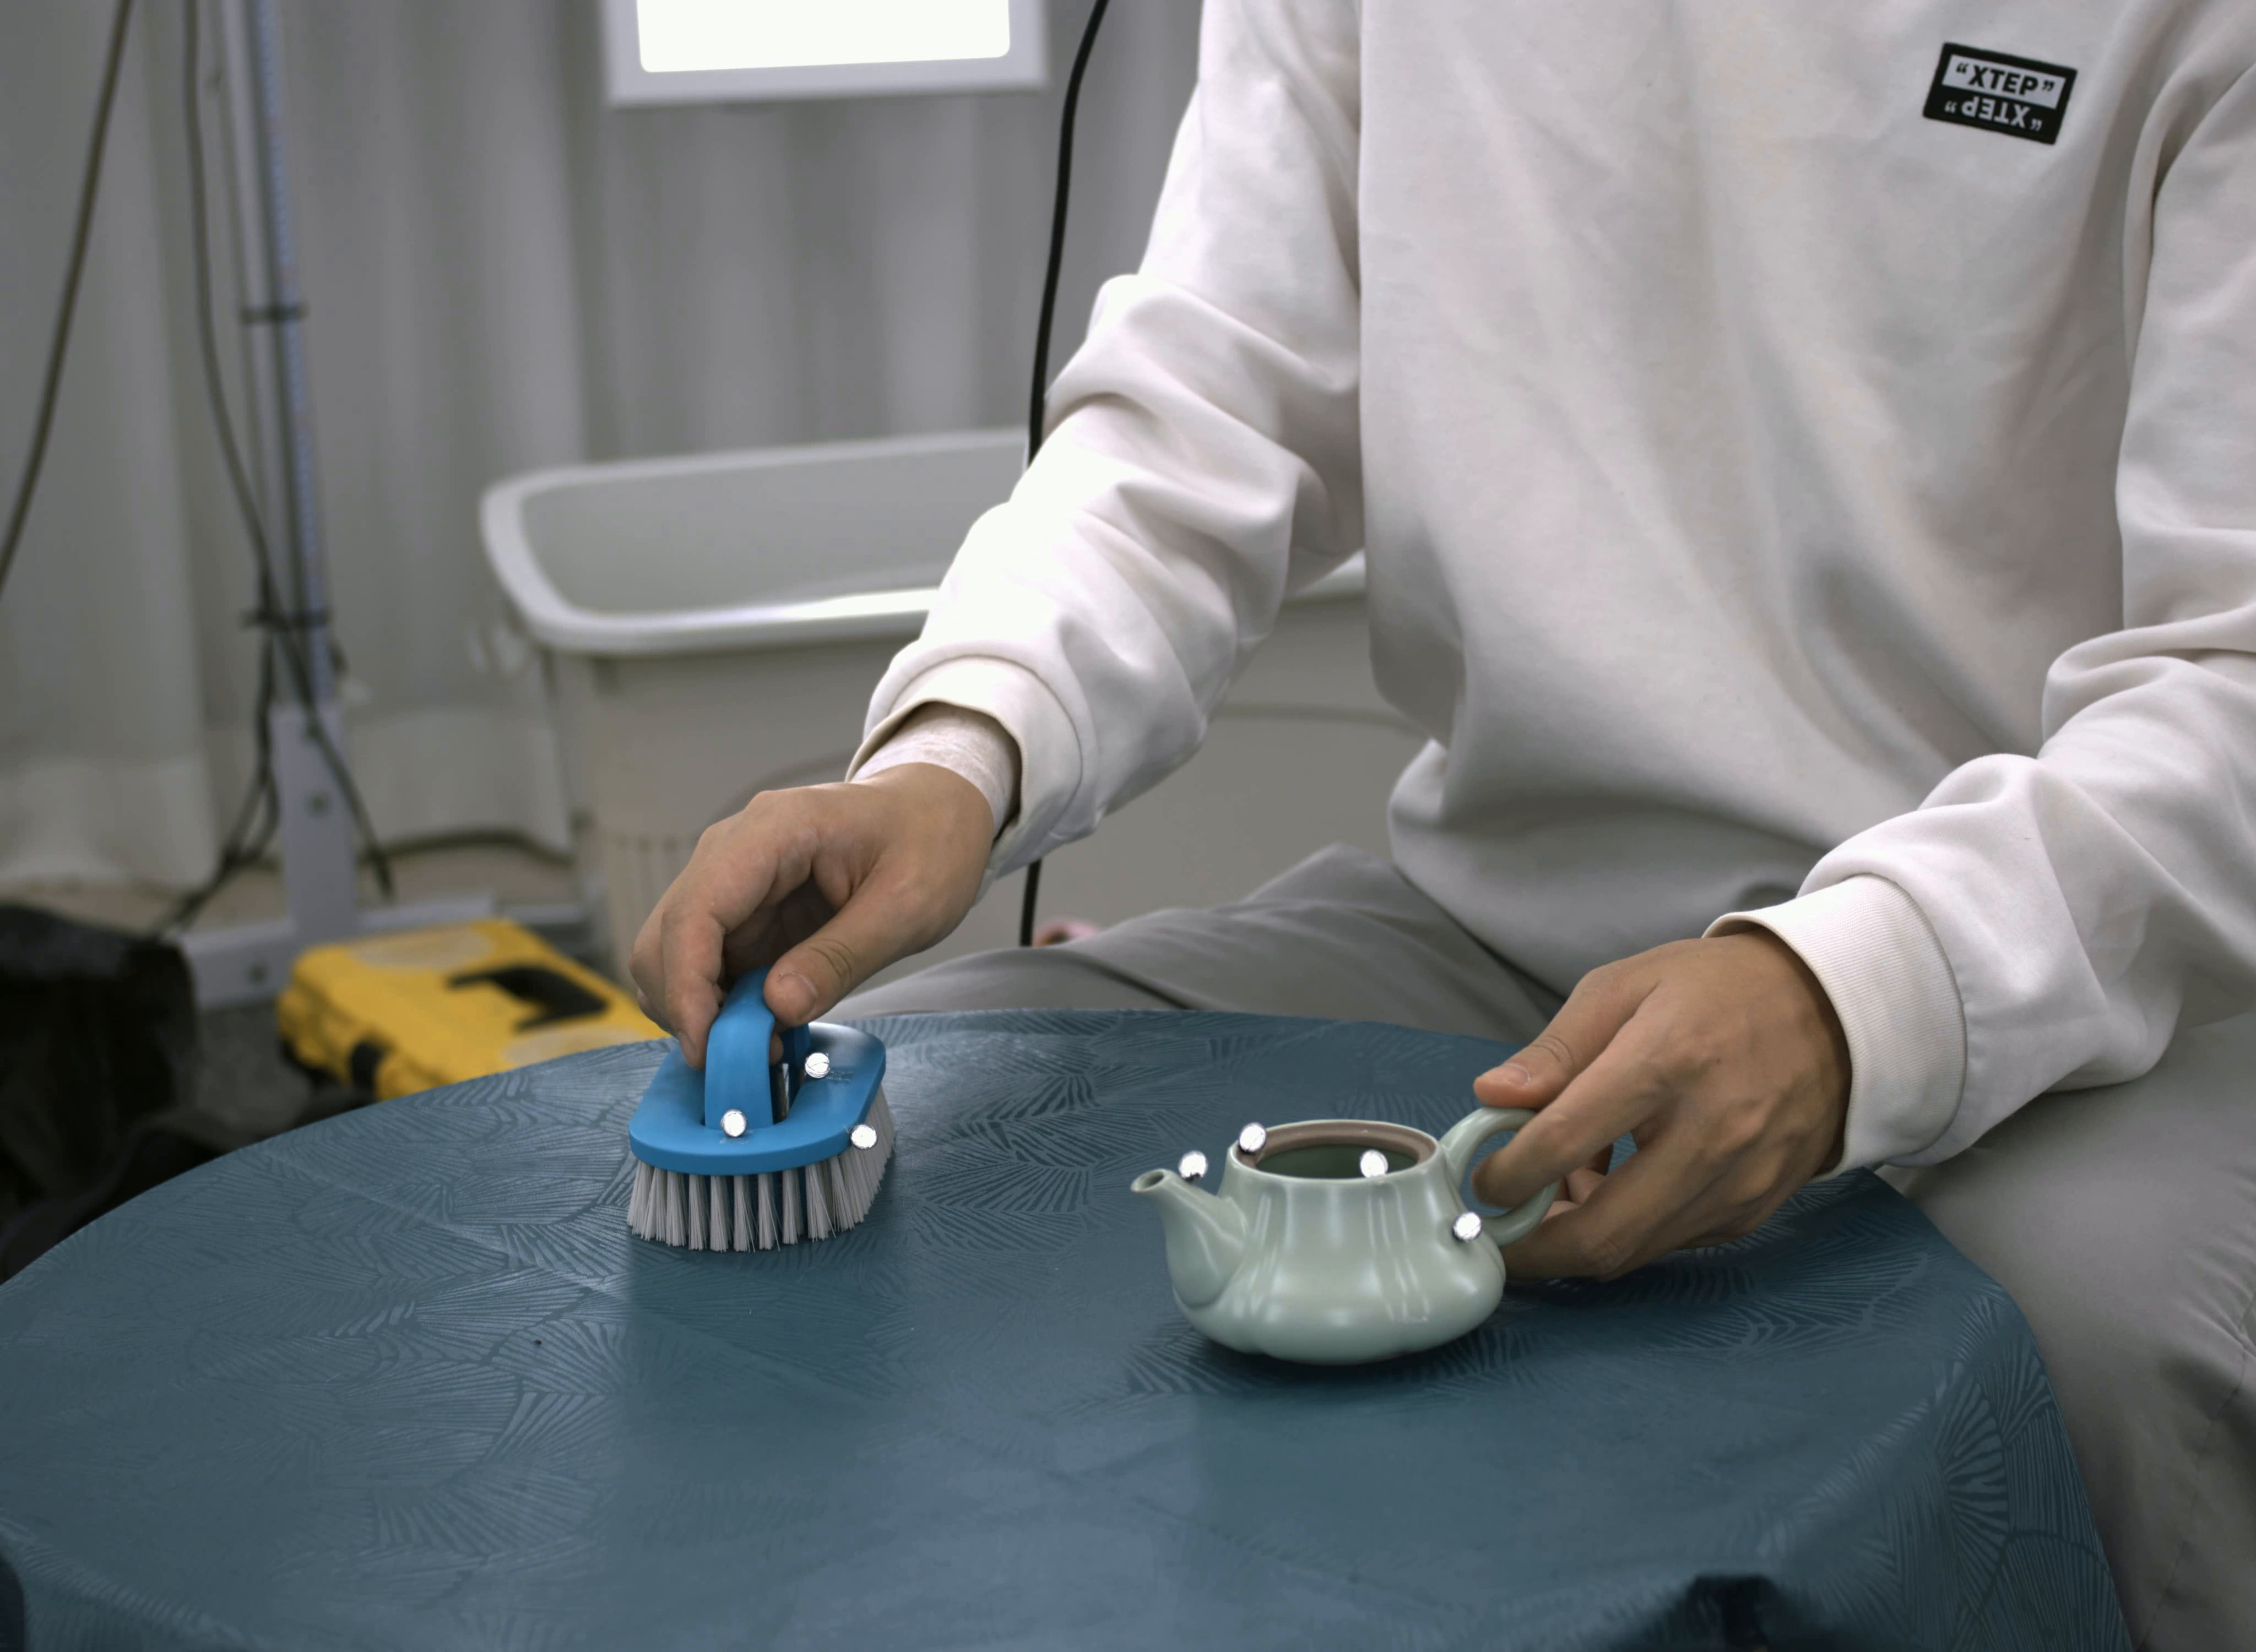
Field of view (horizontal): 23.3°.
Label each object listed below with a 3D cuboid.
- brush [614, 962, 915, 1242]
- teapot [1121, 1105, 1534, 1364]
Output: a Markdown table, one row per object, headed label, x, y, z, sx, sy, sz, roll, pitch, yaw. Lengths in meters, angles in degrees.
| label | x | y | z | sx | sy | sz | roll | pitch | yaw |
| --- | --- | --- | --- | --- | --- | --- | --- | --- | --- |
| brush | -0.117 | 0.082 | 1.738 | 0.084 | 0.063 | 0.142 | -6 | 13 | 8 |
| teapot | 0.059 | 0.118 | 1.578 | 0.136 | 0.061 | 0.097 | -8 | 10 | -27 |
